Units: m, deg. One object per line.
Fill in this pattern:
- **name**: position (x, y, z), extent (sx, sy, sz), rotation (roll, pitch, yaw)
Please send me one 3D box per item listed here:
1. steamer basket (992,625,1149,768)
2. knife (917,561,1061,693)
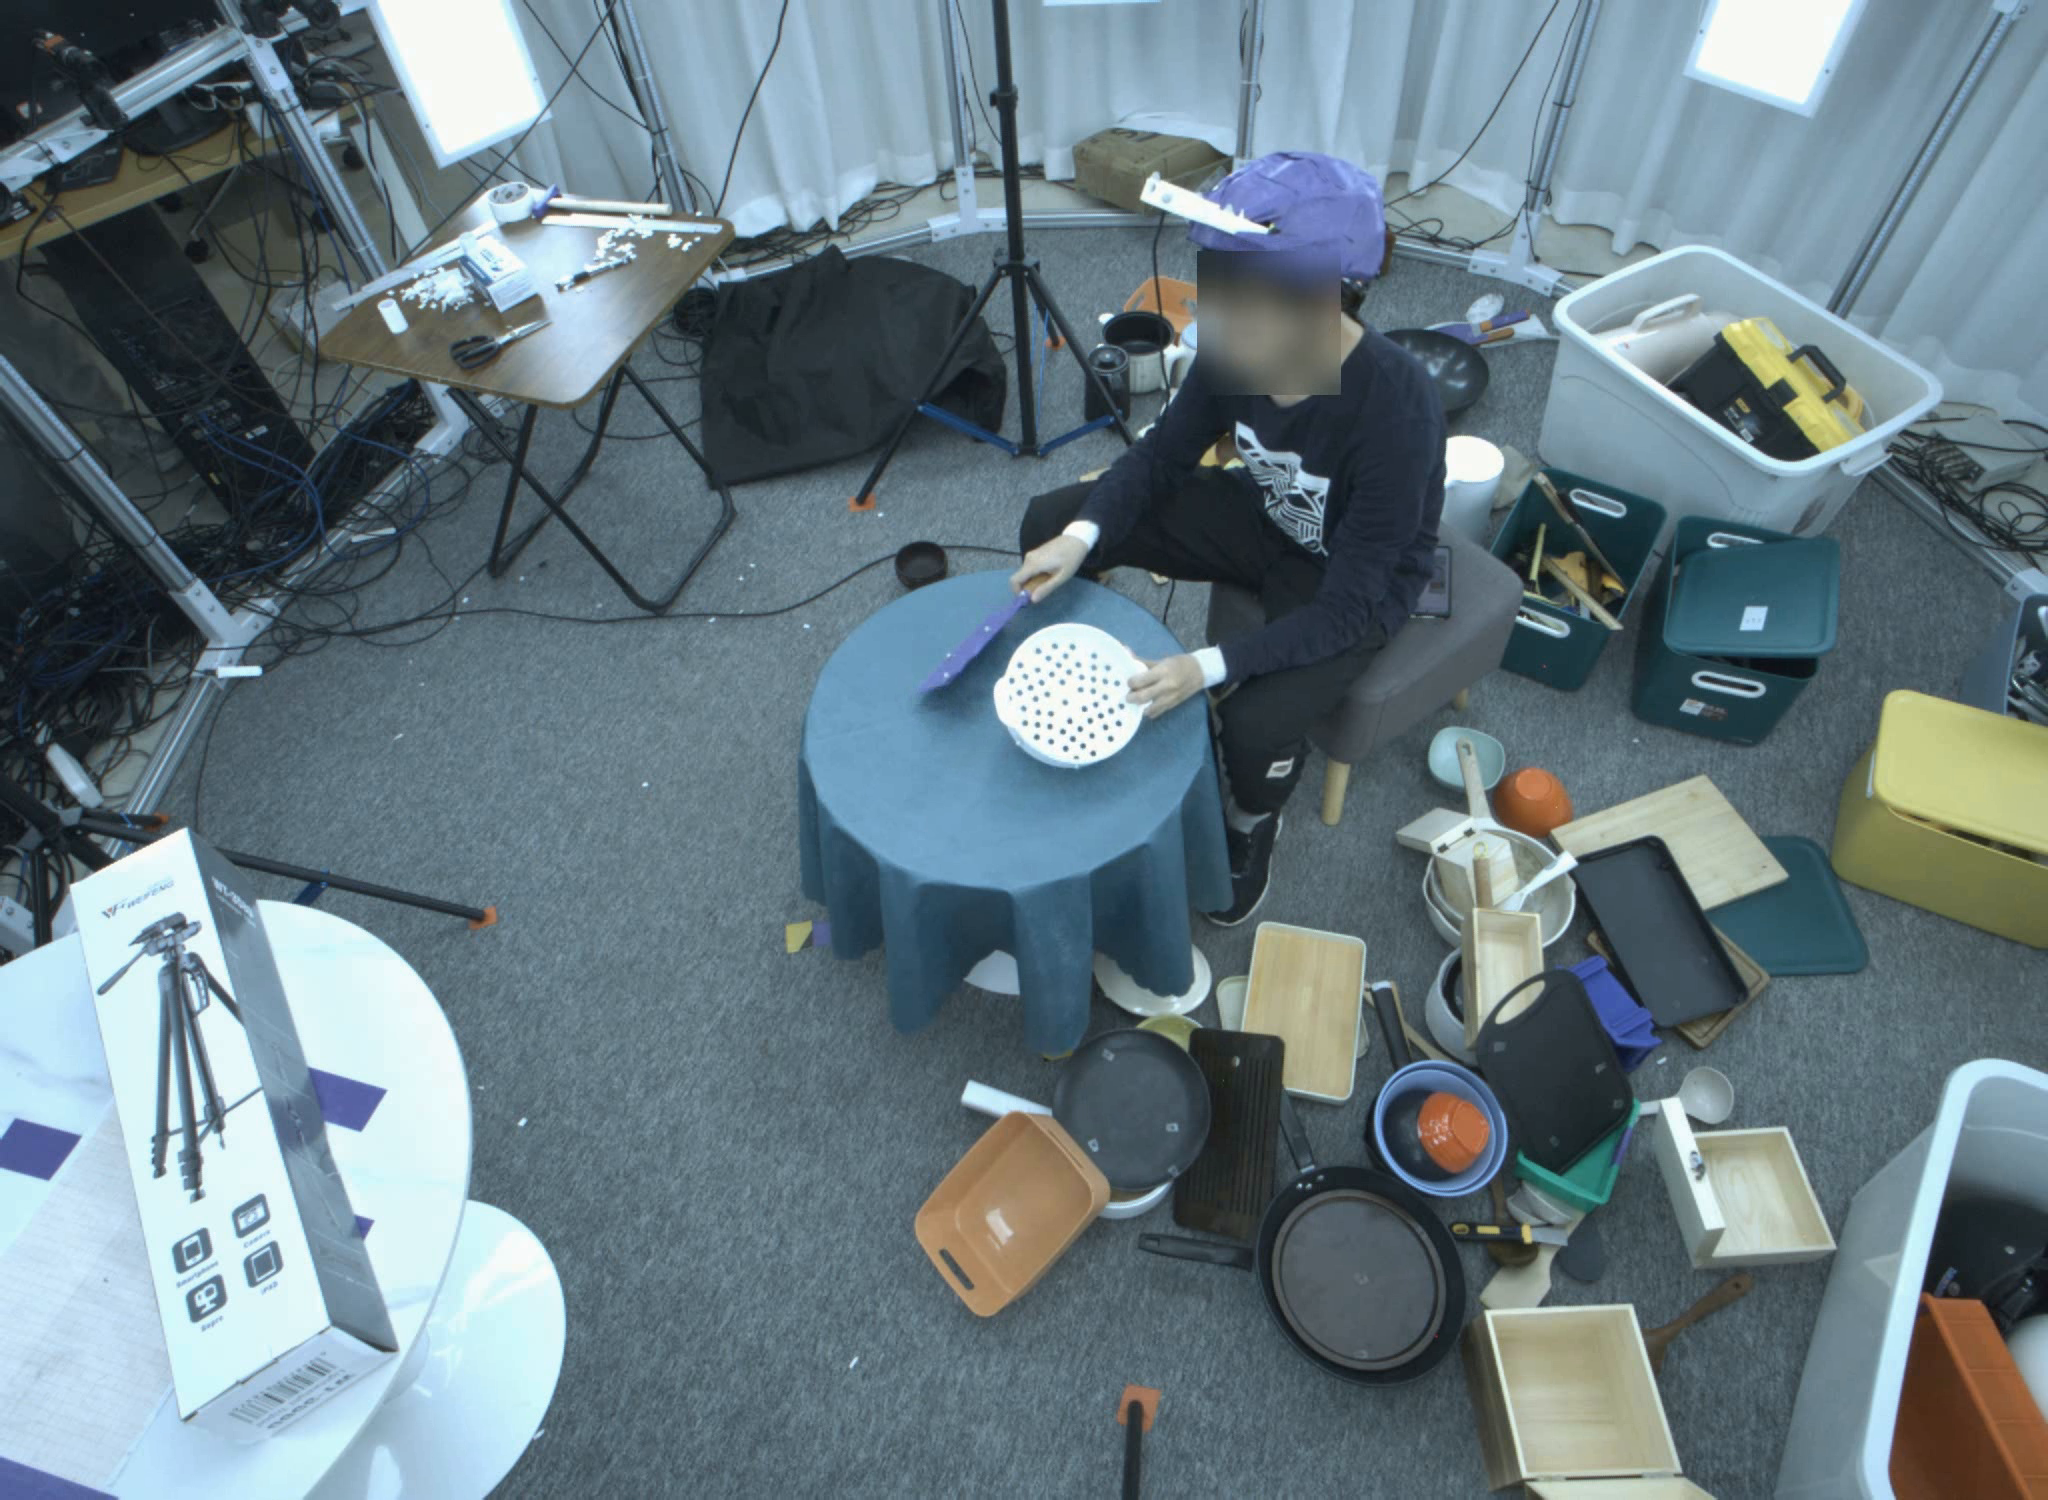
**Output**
- **steamer basket**: position (0.060, -0.074, 1.753), extent (0.233, 0.068, 0.201), rotation (-8, 83, -18)
- **knife**: position (-0.057, -0.191, 1.887), extent (0.102, 0.032, 0.317), rotation (-9, 31, 47)
